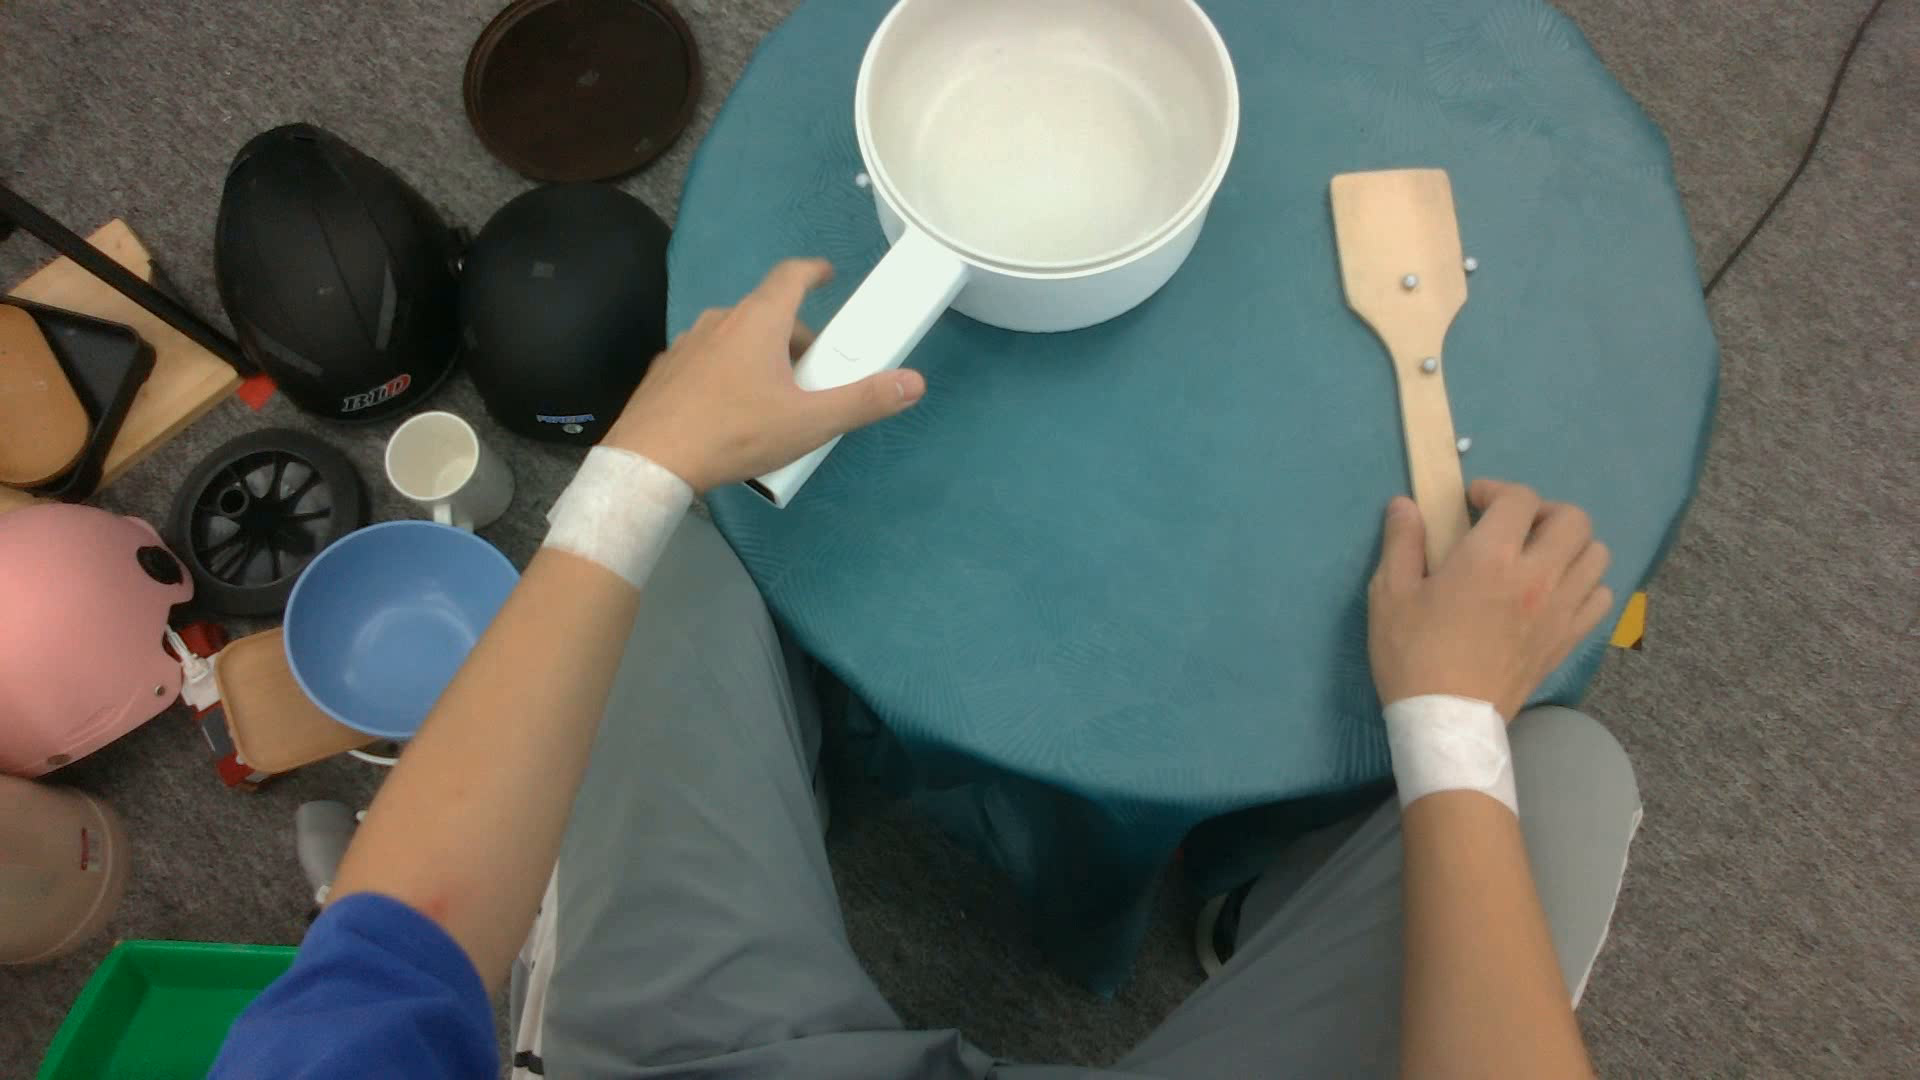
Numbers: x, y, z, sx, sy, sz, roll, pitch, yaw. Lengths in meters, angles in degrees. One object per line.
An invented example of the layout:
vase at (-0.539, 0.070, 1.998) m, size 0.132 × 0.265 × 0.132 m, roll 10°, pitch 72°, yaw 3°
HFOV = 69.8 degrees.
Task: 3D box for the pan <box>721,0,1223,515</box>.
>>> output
pan at (-0.002, -0.153, 0.767) m, size 0.201 × 0.102 × 0.355 m, roll 34°, pitch 76°, yaw 9°

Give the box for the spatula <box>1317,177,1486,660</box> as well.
spatula at (0.259, -0.075, 0.781) m, size 0.072 × 0.010 × 0.294 m, roll -5°, pitch 72°, yaw -1°
